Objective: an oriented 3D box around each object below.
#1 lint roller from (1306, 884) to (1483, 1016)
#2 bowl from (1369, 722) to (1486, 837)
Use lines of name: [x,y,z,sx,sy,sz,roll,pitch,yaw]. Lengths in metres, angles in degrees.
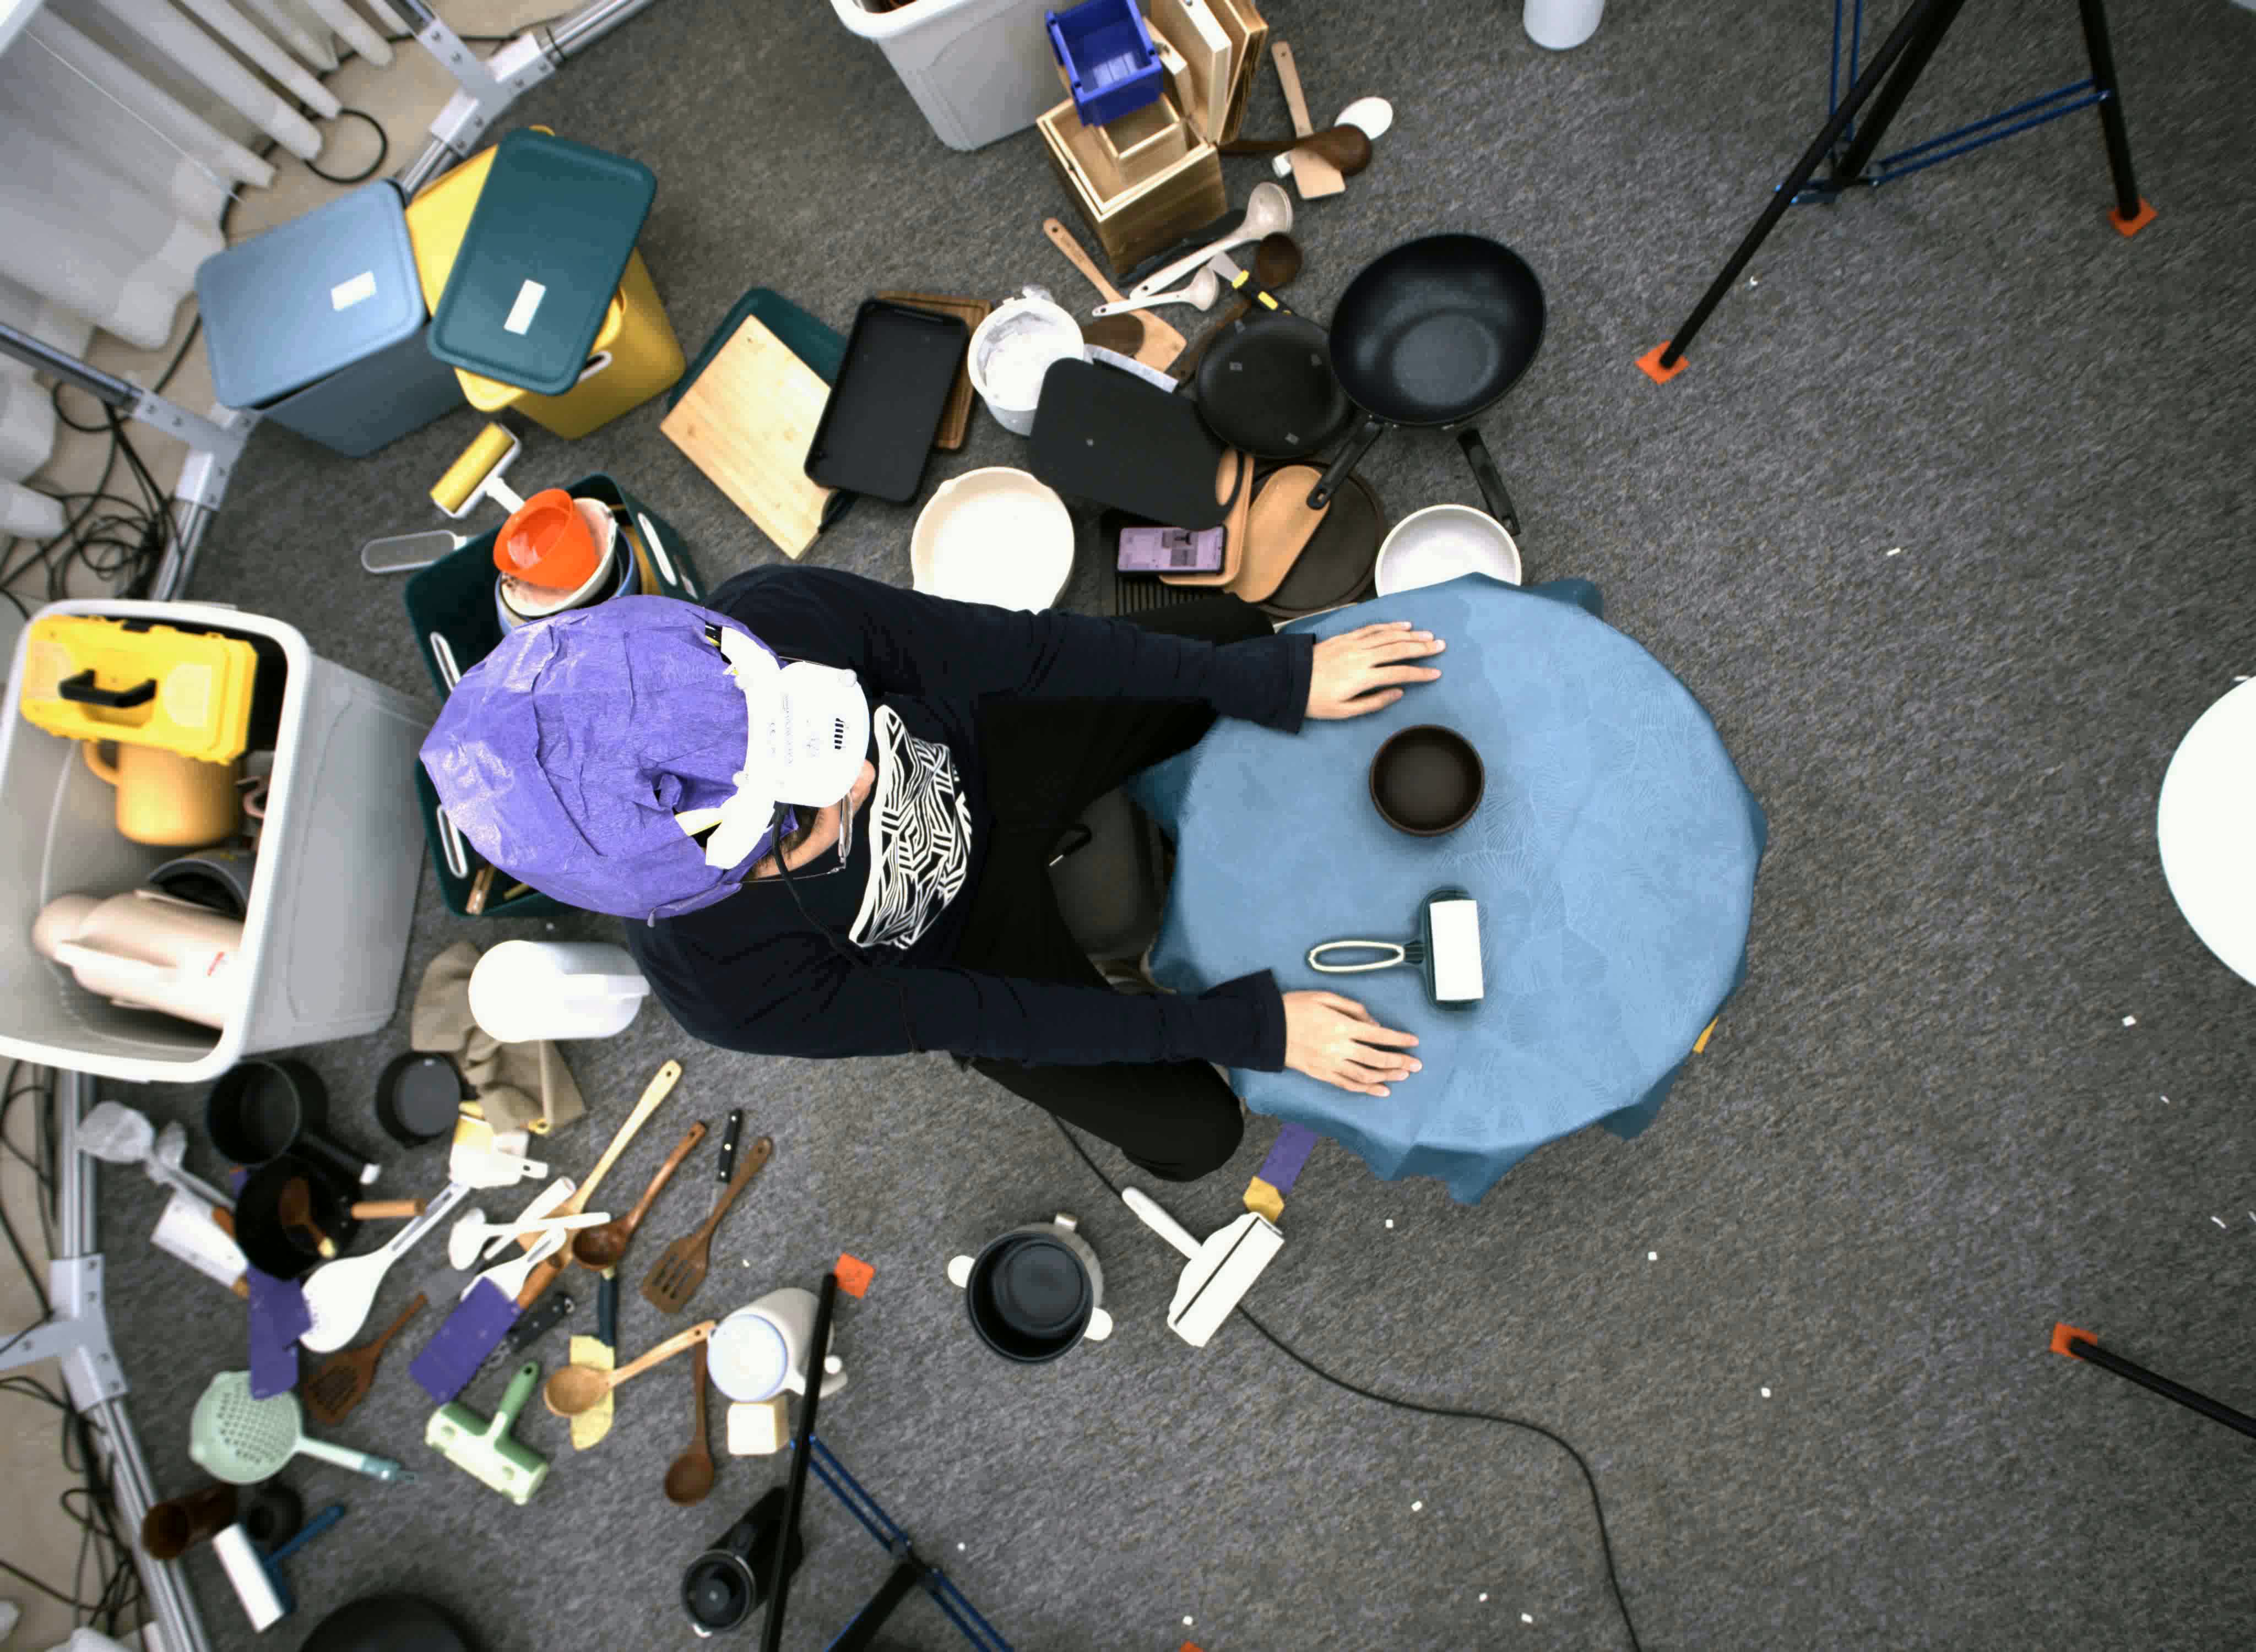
lint roller: [0.273,0.132,1.436,0.181,0.048,0.133,-5,86,13]
bowl: [0.309,-0.047,1.423,0.118,0.070,0.117,-1,88,13]
